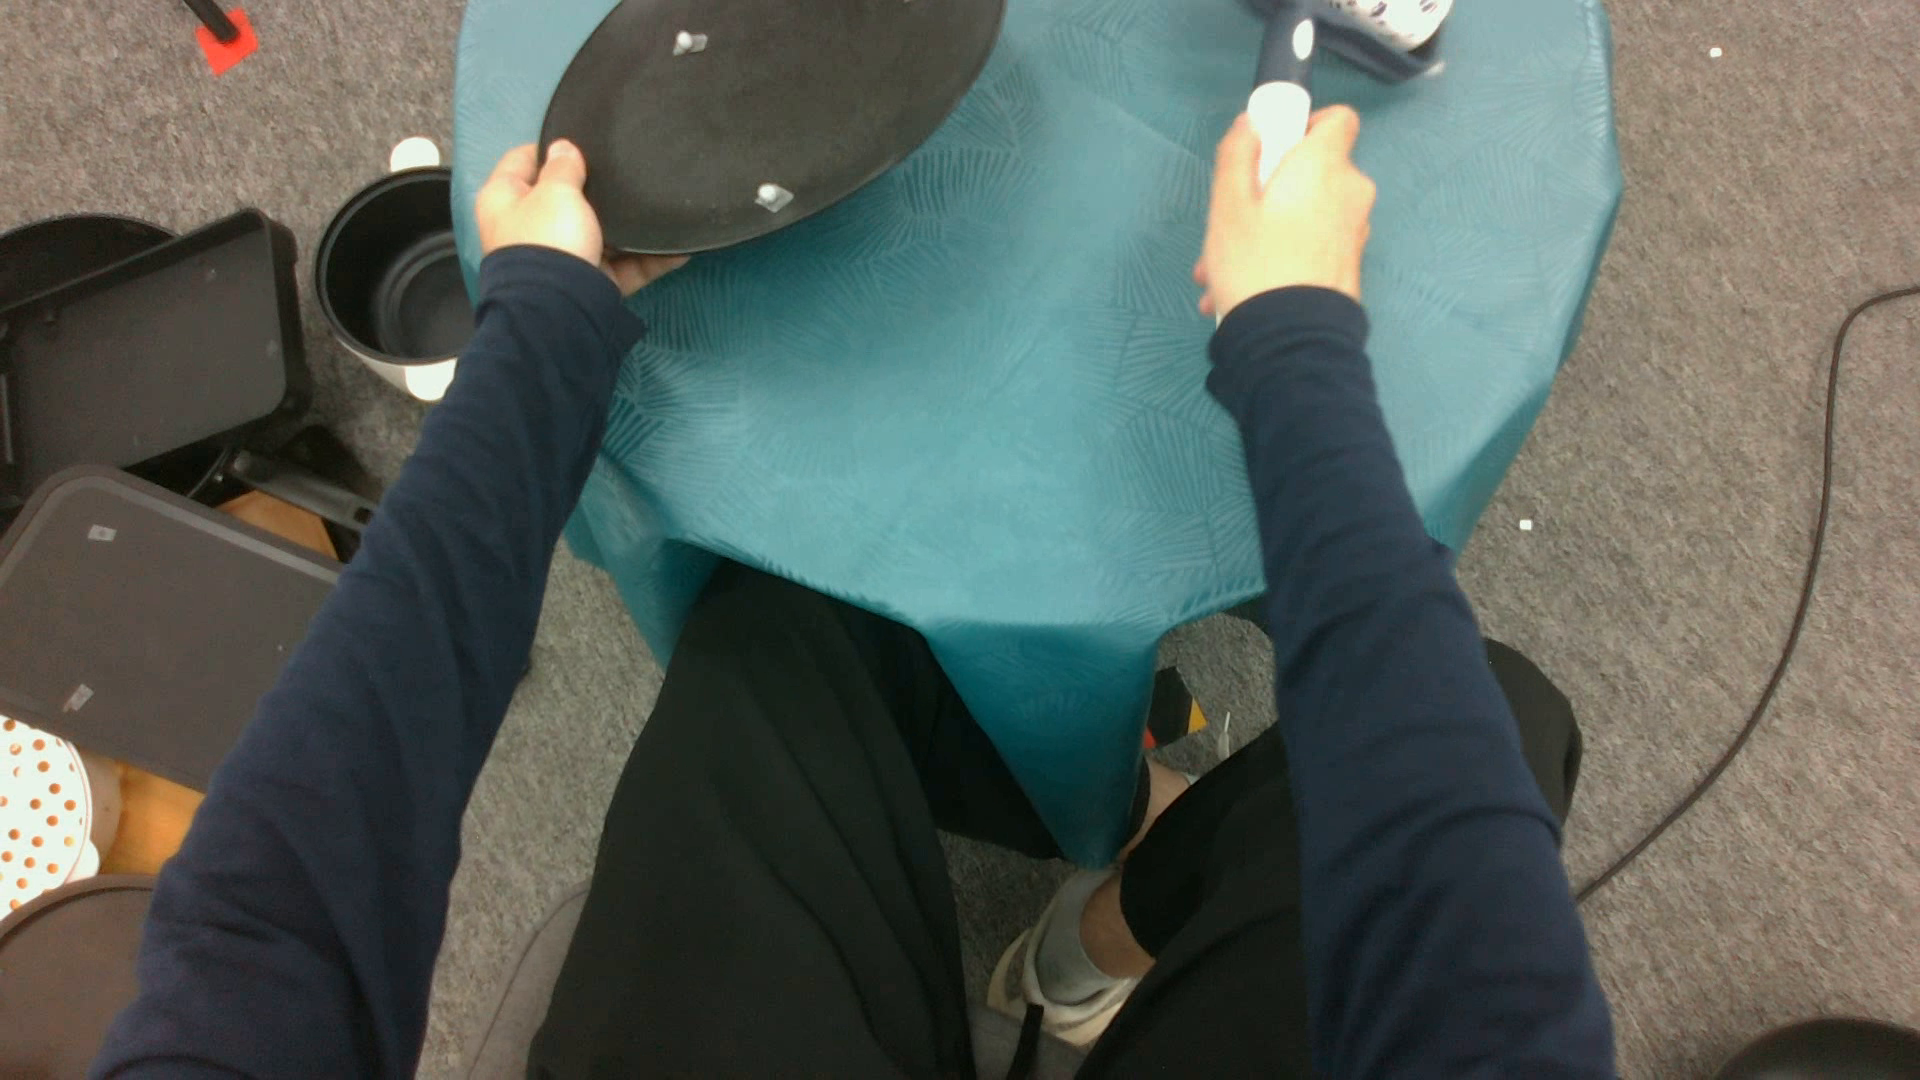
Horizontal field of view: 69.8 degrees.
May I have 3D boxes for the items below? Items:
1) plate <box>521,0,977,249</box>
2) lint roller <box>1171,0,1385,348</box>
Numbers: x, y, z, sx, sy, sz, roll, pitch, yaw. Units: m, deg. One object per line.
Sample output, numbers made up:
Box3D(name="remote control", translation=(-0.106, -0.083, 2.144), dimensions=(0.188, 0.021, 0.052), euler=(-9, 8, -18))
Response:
Box3D(name="plate", translation=(-0.098, -0.227, 0.649), dimensions=(0.244, 0.023, 0.245), euler=(-12, 55, 18))
Box3D(name="lint roller", translation=(0.137, -0.203, 0.622), dimensions=(0.050, 0.176, 0.247), euler=(2, 75, 33))
